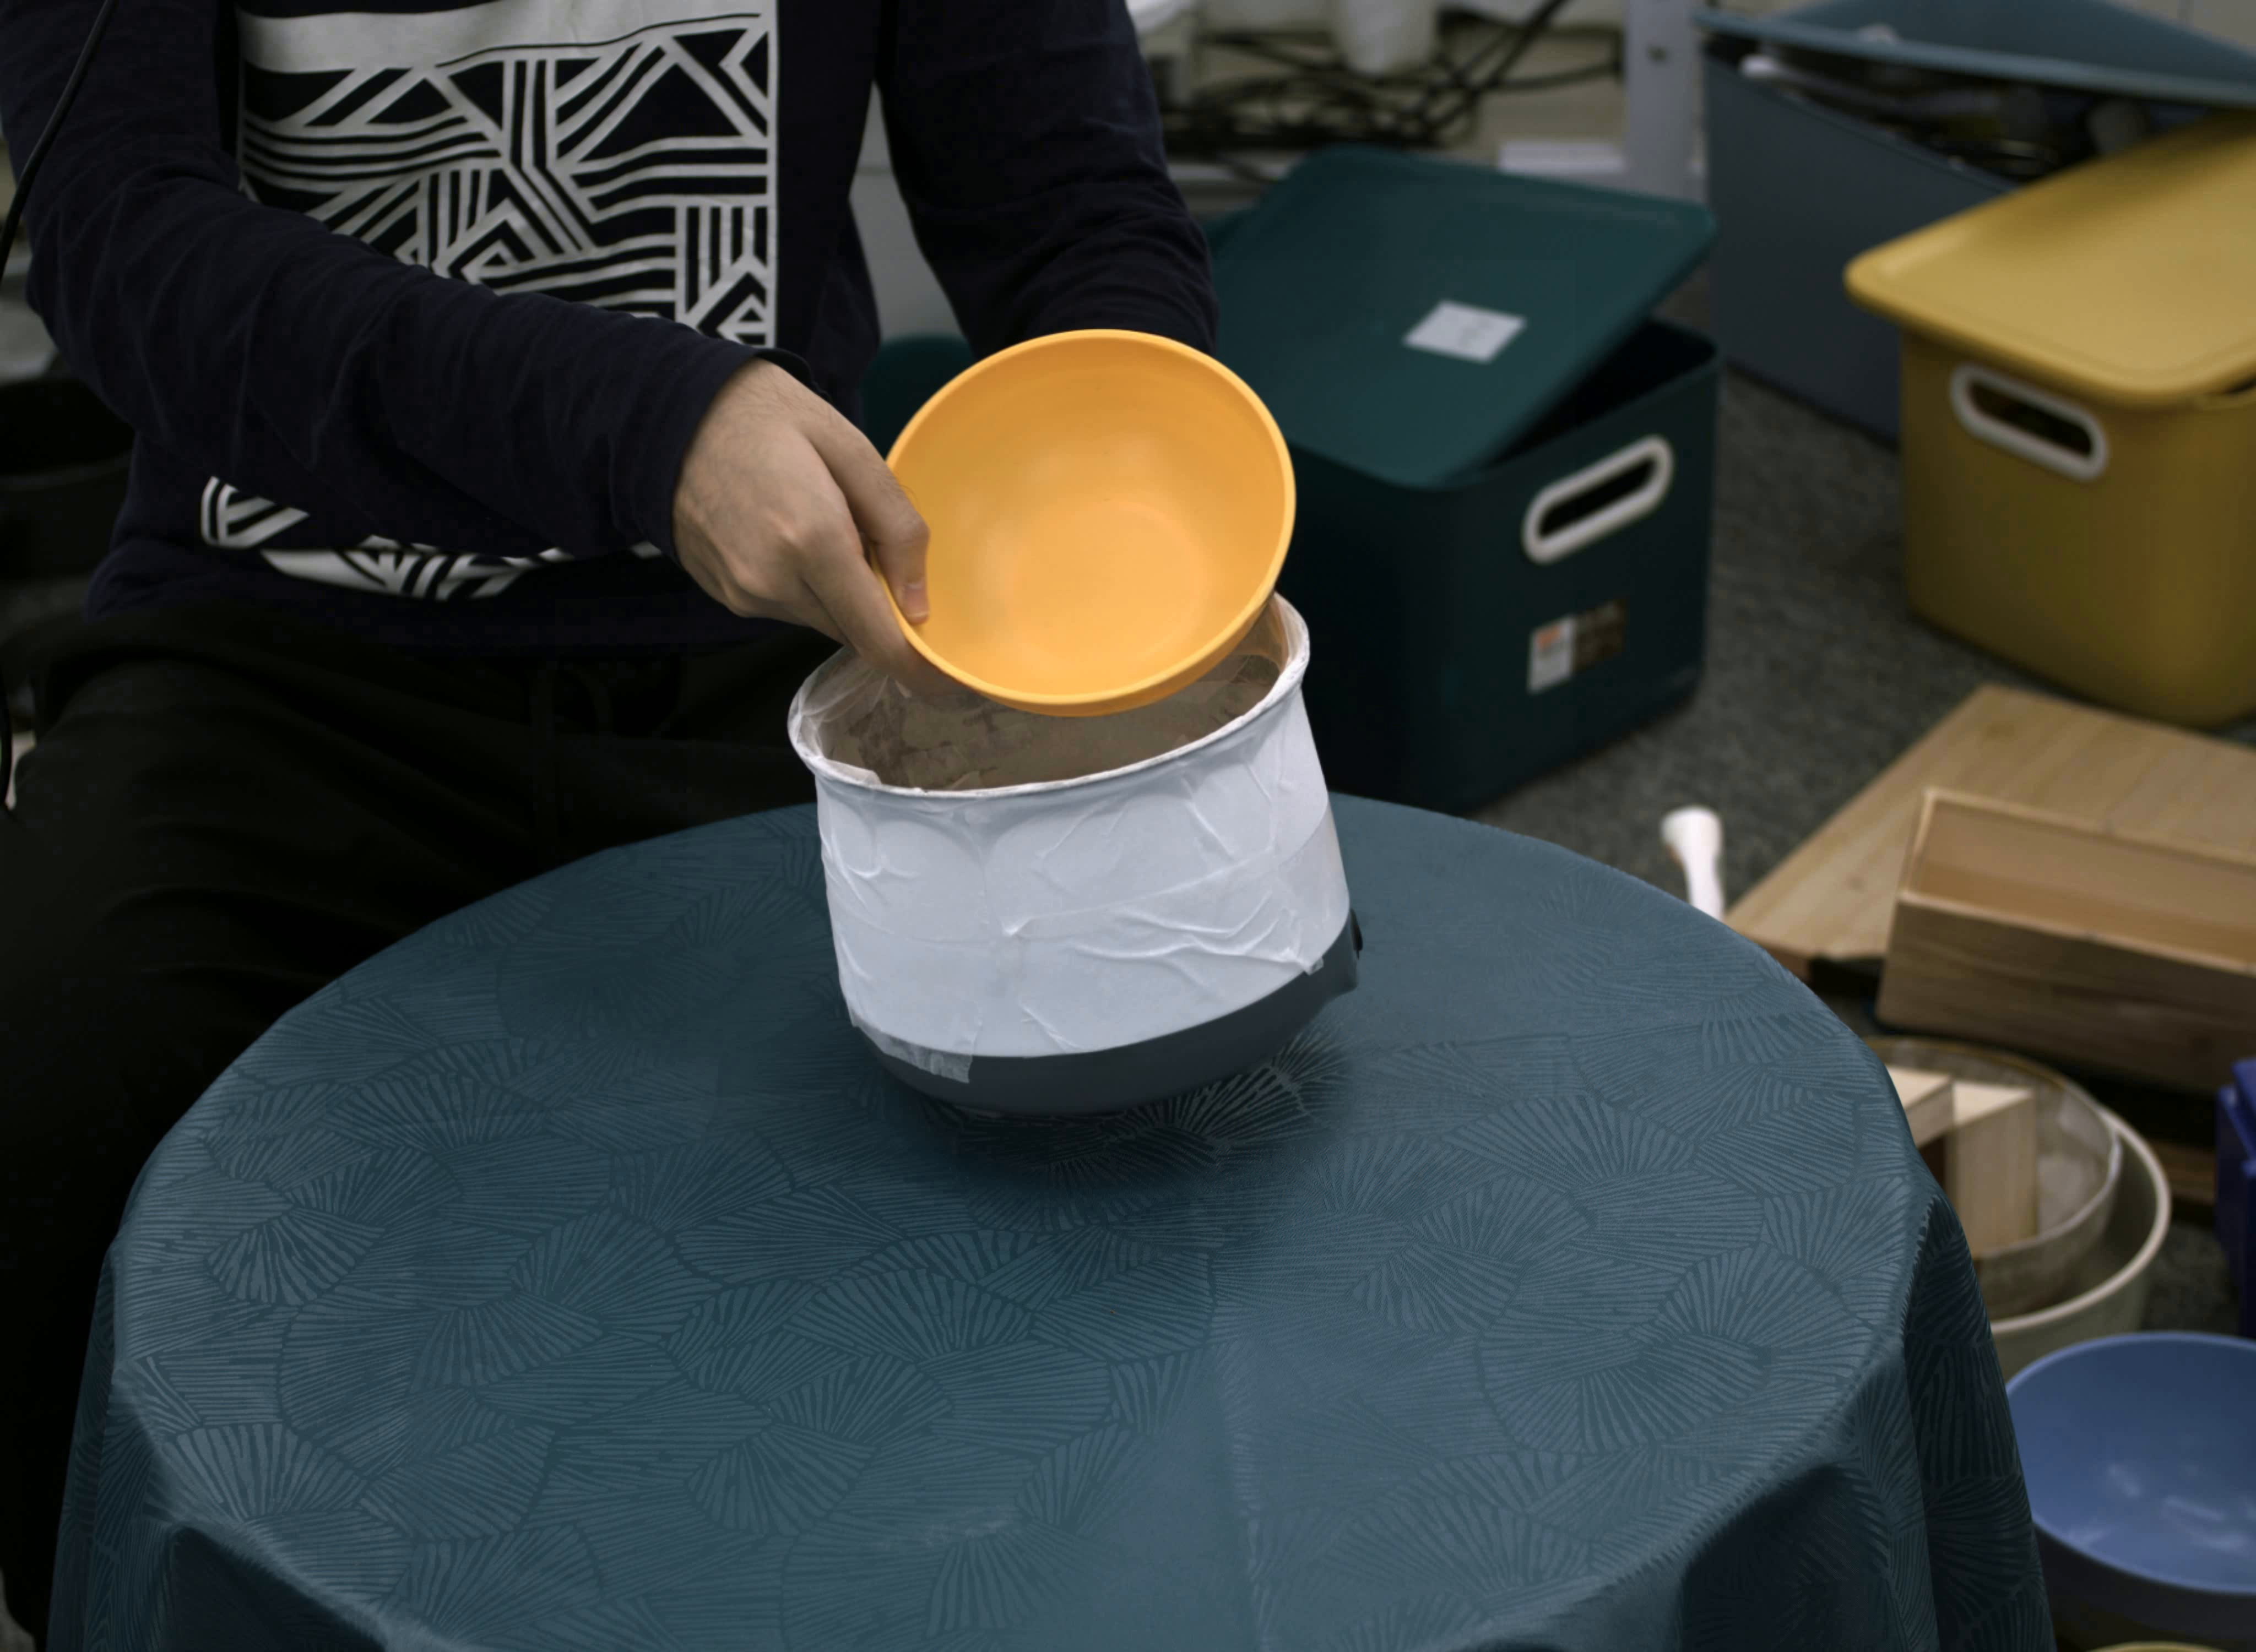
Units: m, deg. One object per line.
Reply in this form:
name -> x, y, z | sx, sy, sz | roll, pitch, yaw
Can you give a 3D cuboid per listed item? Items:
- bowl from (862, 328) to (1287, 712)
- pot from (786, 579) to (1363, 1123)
bowl -> -0.016, -0.093, 1.905 | 0.144, 0.059, 0.148 | -3, 60, 5
pot -> -0.019, -0.002, 1.920 | 0.178, 0.135, 0.236 | -11, 23, -1
